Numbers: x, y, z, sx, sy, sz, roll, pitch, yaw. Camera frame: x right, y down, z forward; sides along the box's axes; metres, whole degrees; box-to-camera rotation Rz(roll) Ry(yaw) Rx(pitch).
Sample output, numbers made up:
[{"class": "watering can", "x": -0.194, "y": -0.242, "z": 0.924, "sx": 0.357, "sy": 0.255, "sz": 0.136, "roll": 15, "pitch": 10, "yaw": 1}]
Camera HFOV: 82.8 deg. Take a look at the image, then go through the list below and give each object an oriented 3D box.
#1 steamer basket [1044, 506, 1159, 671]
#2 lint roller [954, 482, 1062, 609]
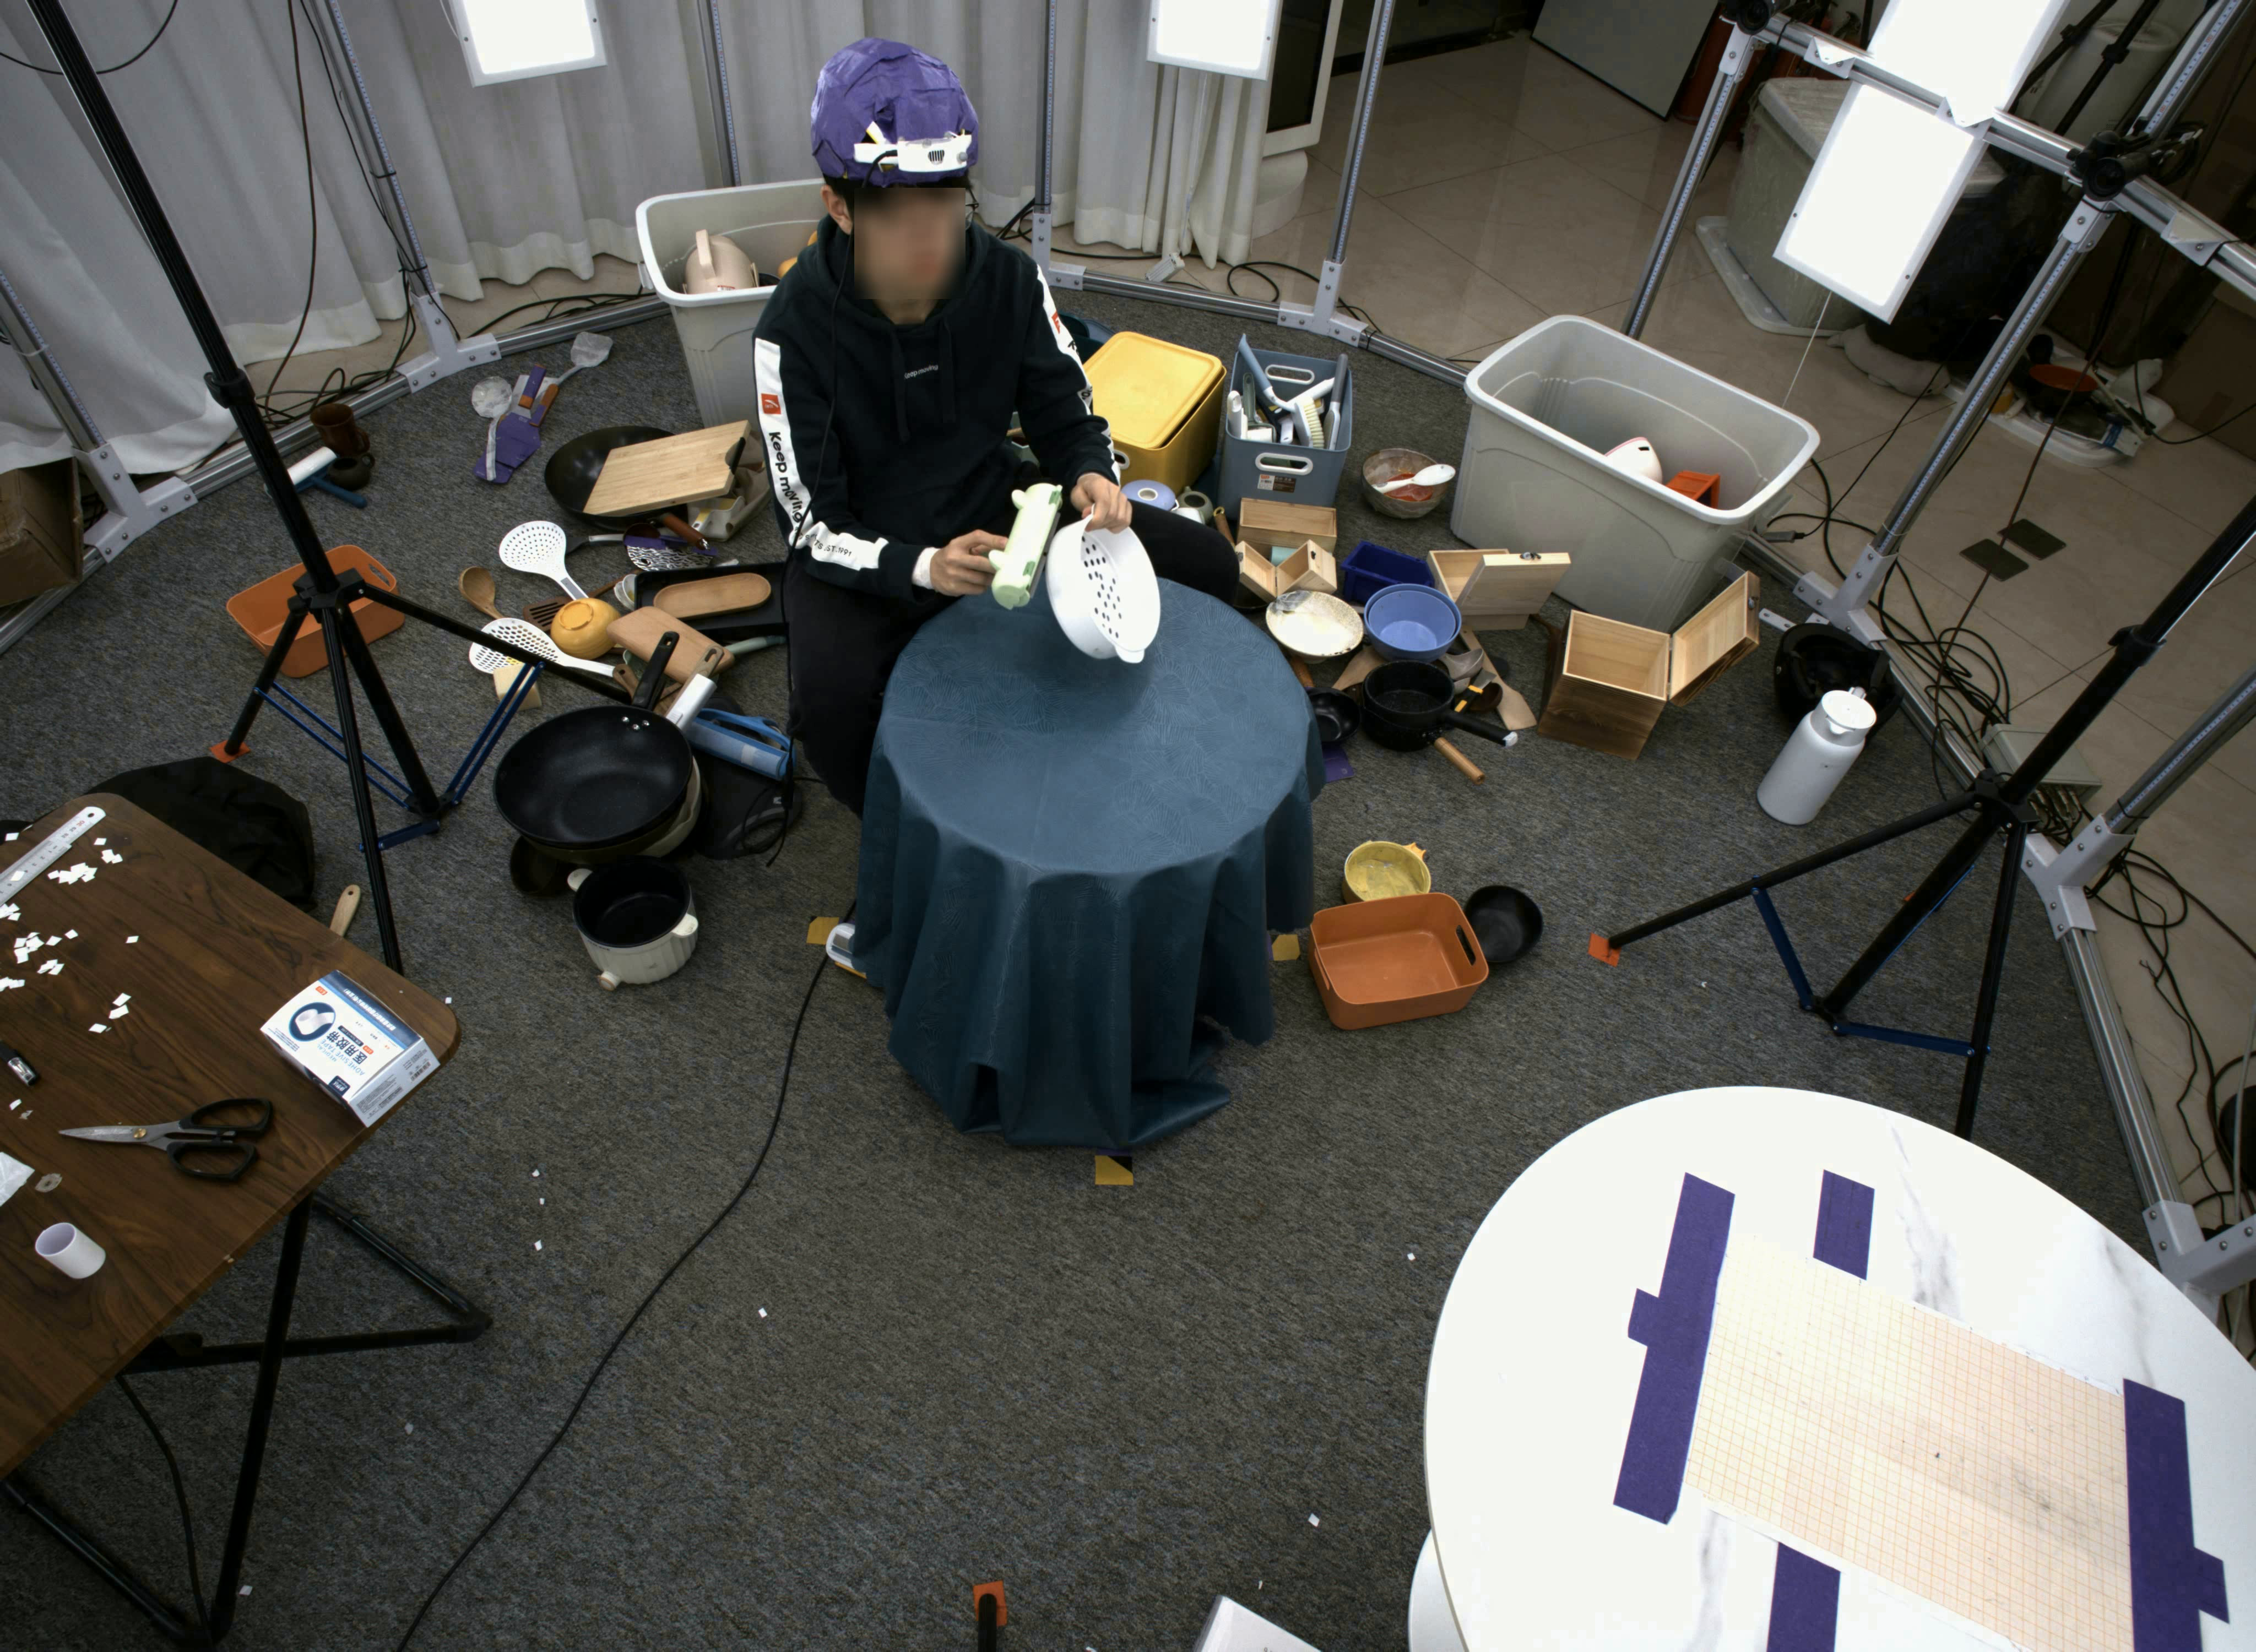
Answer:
[{"class": "steamer basket", "x": -0.037, "y": -0.327, "z": 1.805, "sx": 0.069, "sy": 0.231, "sz": 0.201, "roll": -9, "pitch": -3, "yaw": 33}, {"class": "lint roller", "x": -0.184, "y": -0.380, "z": 1.770, "sx": 0.183, "sy": 0.080, "sz": 0.203, "roll": -9, "pitch": 50, "yaw": 33}]
